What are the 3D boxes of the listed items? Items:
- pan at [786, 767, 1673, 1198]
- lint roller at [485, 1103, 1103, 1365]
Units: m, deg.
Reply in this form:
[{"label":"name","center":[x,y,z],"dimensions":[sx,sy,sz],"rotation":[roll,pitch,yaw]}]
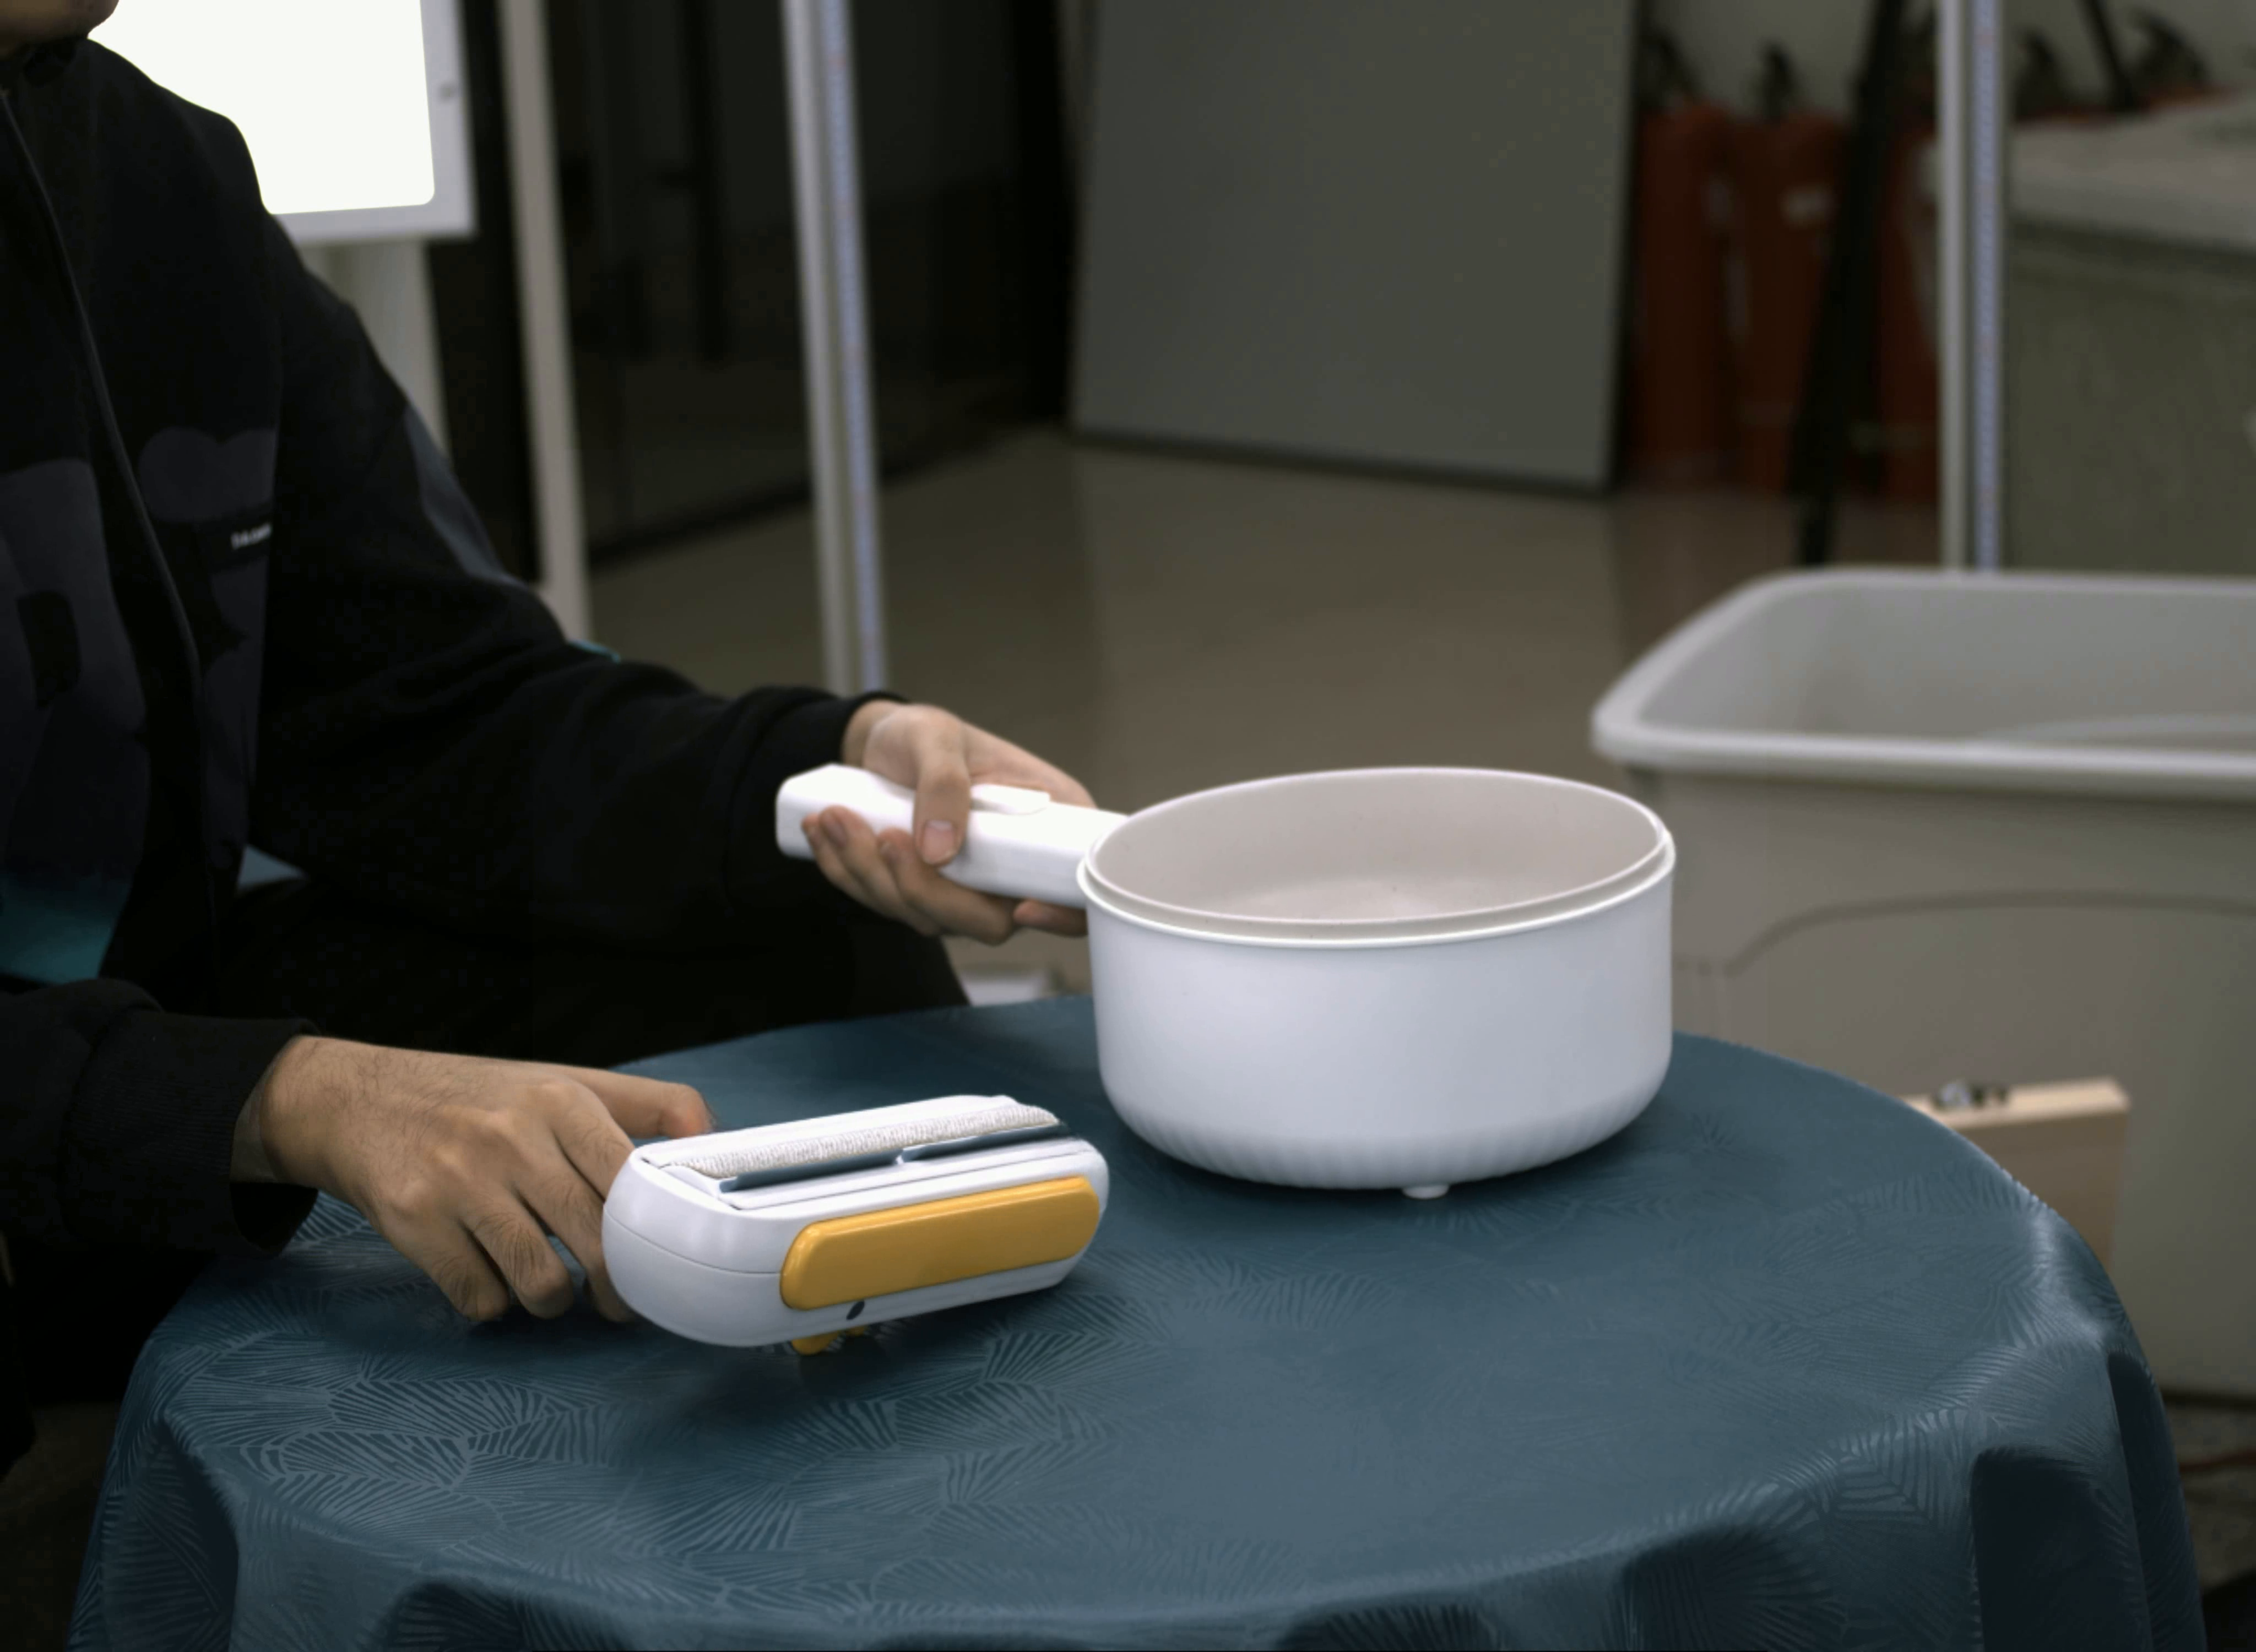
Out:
[{"label":"pan","center":[0.025,0.046,1.854],"dimensions":[0.357,0.103,0.197],"rotation":[7,18,39]},{"label":"lint roller","center":[-0.128,0.115,1.670],"dimensions":[0.194,0.075,0.189],"rotation":[14,16,42]}]
